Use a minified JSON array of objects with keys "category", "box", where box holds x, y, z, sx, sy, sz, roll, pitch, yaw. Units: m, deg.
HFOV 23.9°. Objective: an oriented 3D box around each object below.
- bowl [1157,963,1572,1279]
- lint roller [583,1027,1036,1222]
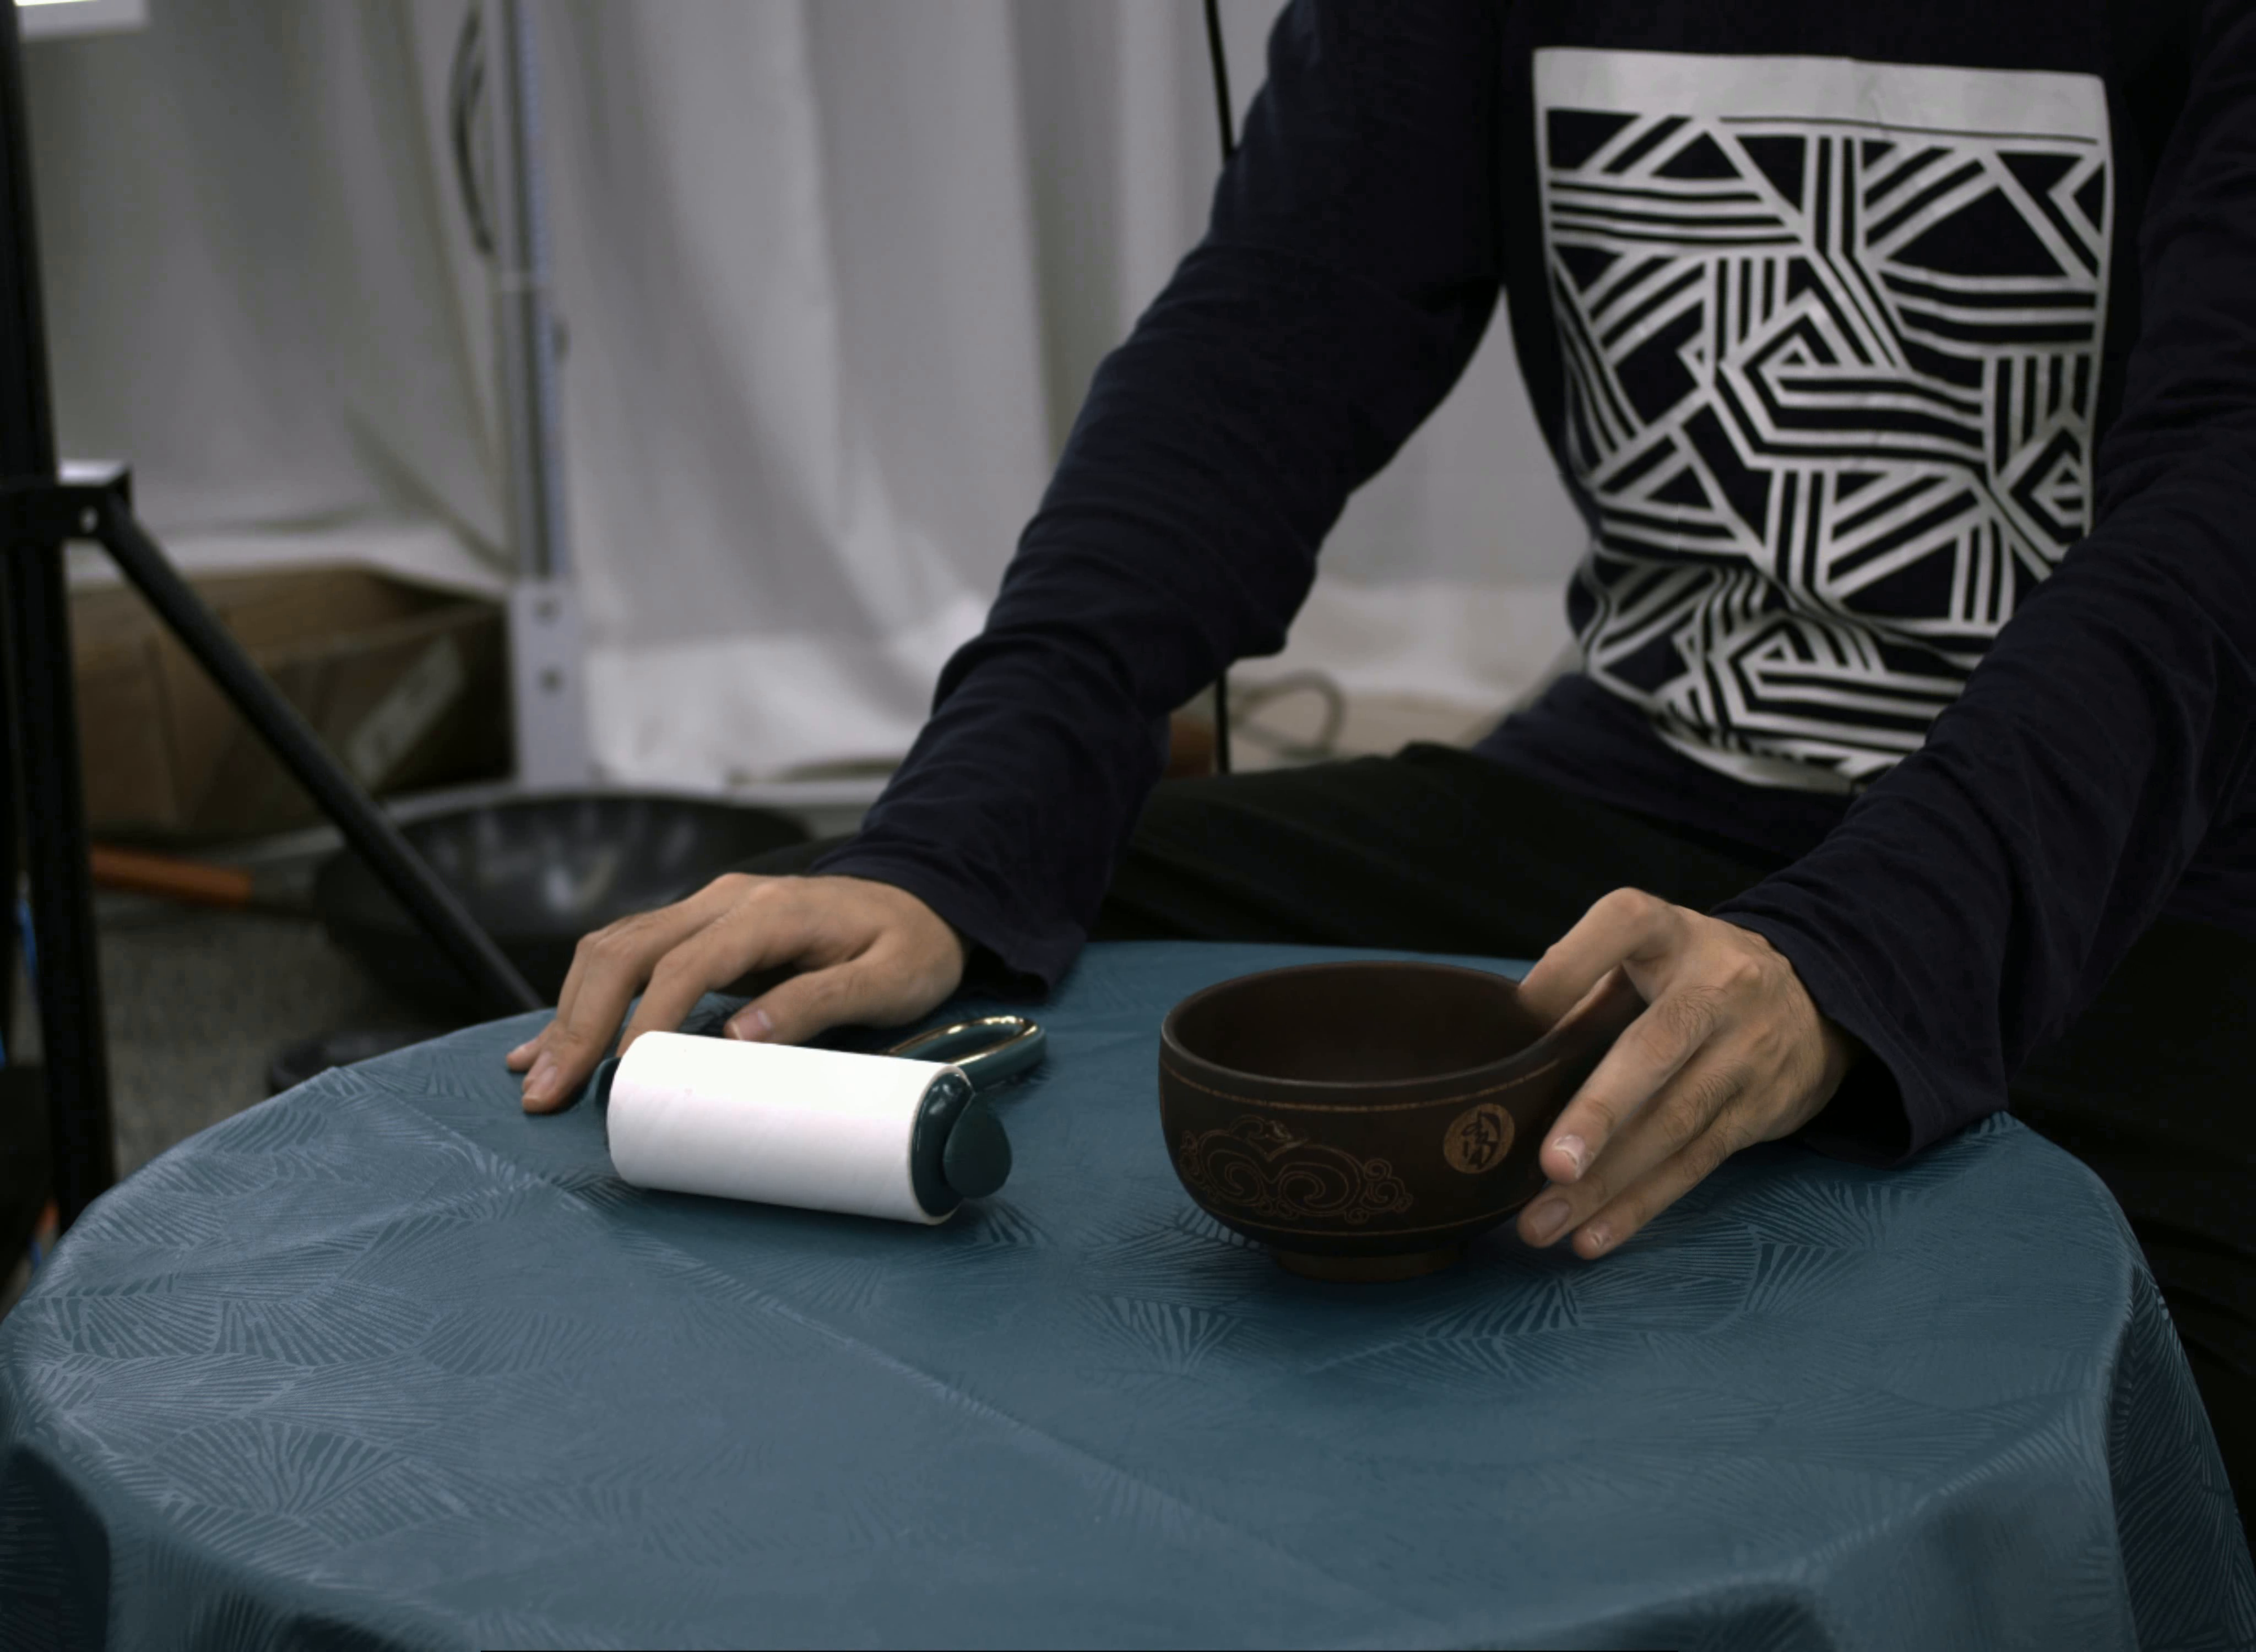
[{"category":"bowl","box":[0.067,0.087,1.496,0.117,0.070,0.118,-3,13,-1]},{"category":"lint roller","box":[-0.072,0.074,1.620,0.136,0.048,0.177,5,14,24]}]
